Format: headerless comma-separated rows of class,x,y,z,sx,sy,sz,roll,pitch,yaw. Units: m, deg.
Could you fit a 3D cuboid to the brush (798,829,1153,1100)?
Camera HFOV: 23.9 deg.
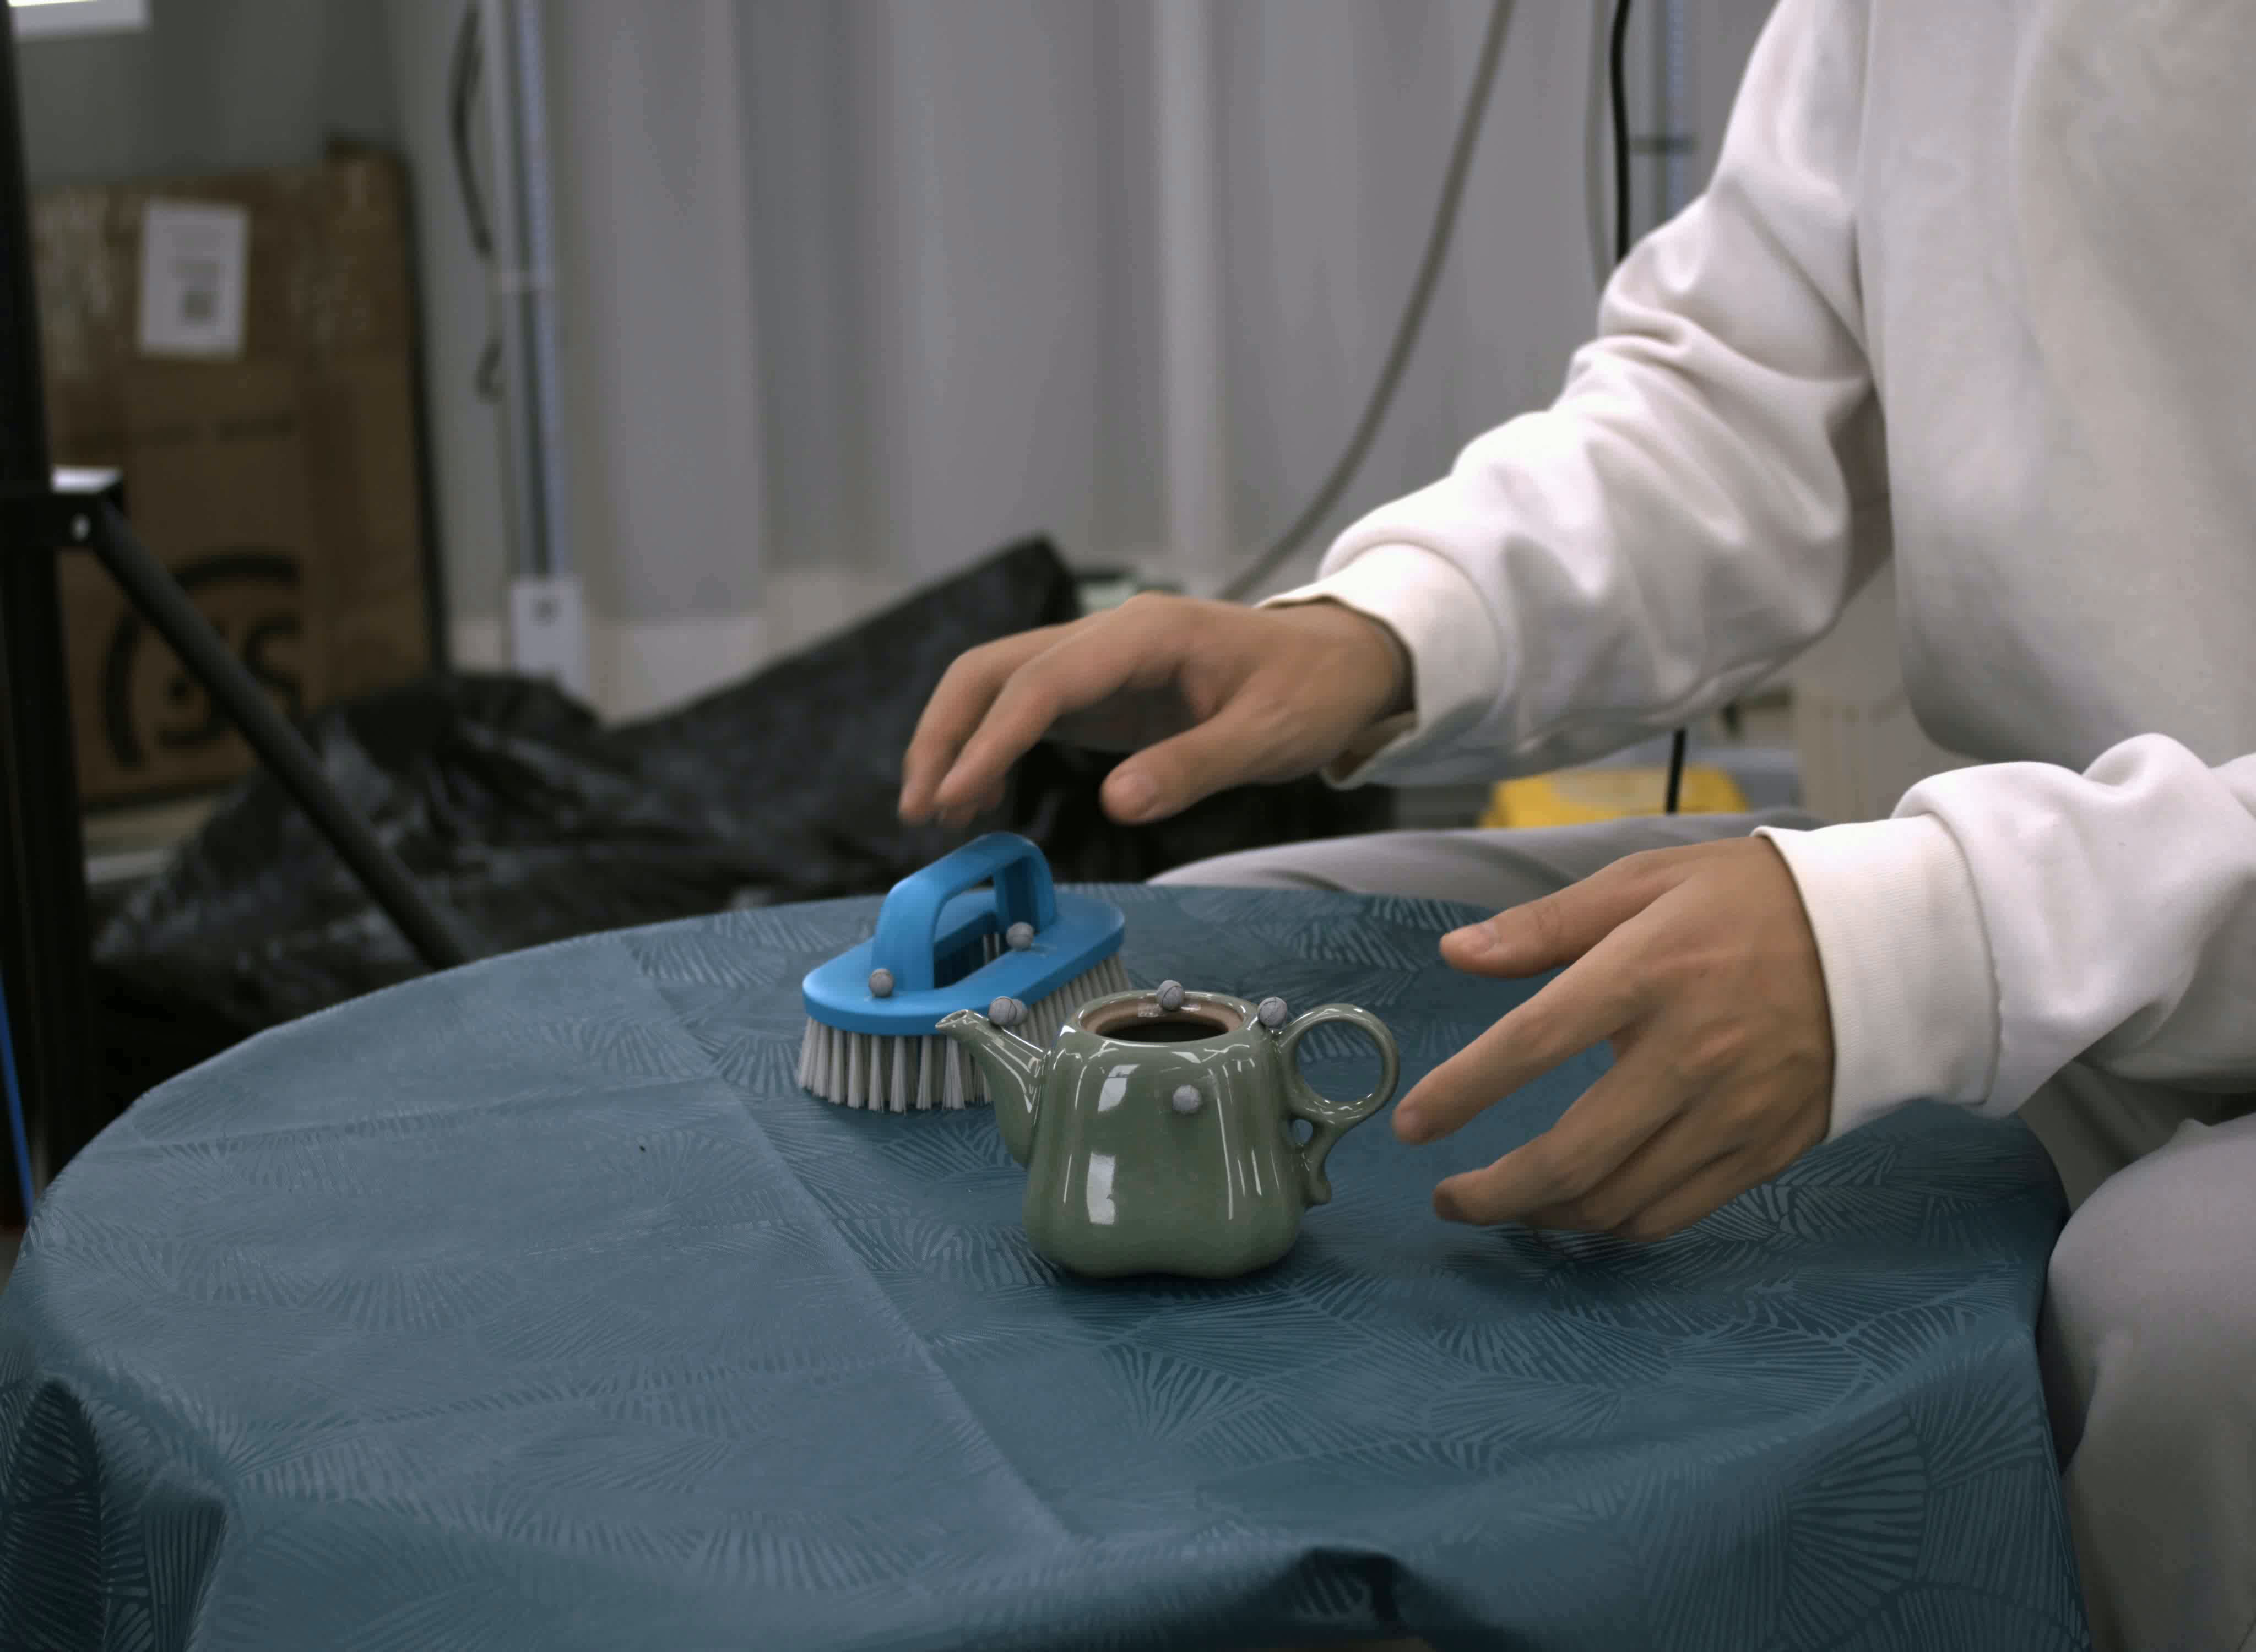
brush,-0.051,0.039,1.694,0.086,0.064,0.139,1,14,30

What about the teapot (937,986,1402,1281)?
teapot,0.012,0.086,1.502,0.133,0.075,0.079,0,16,8
